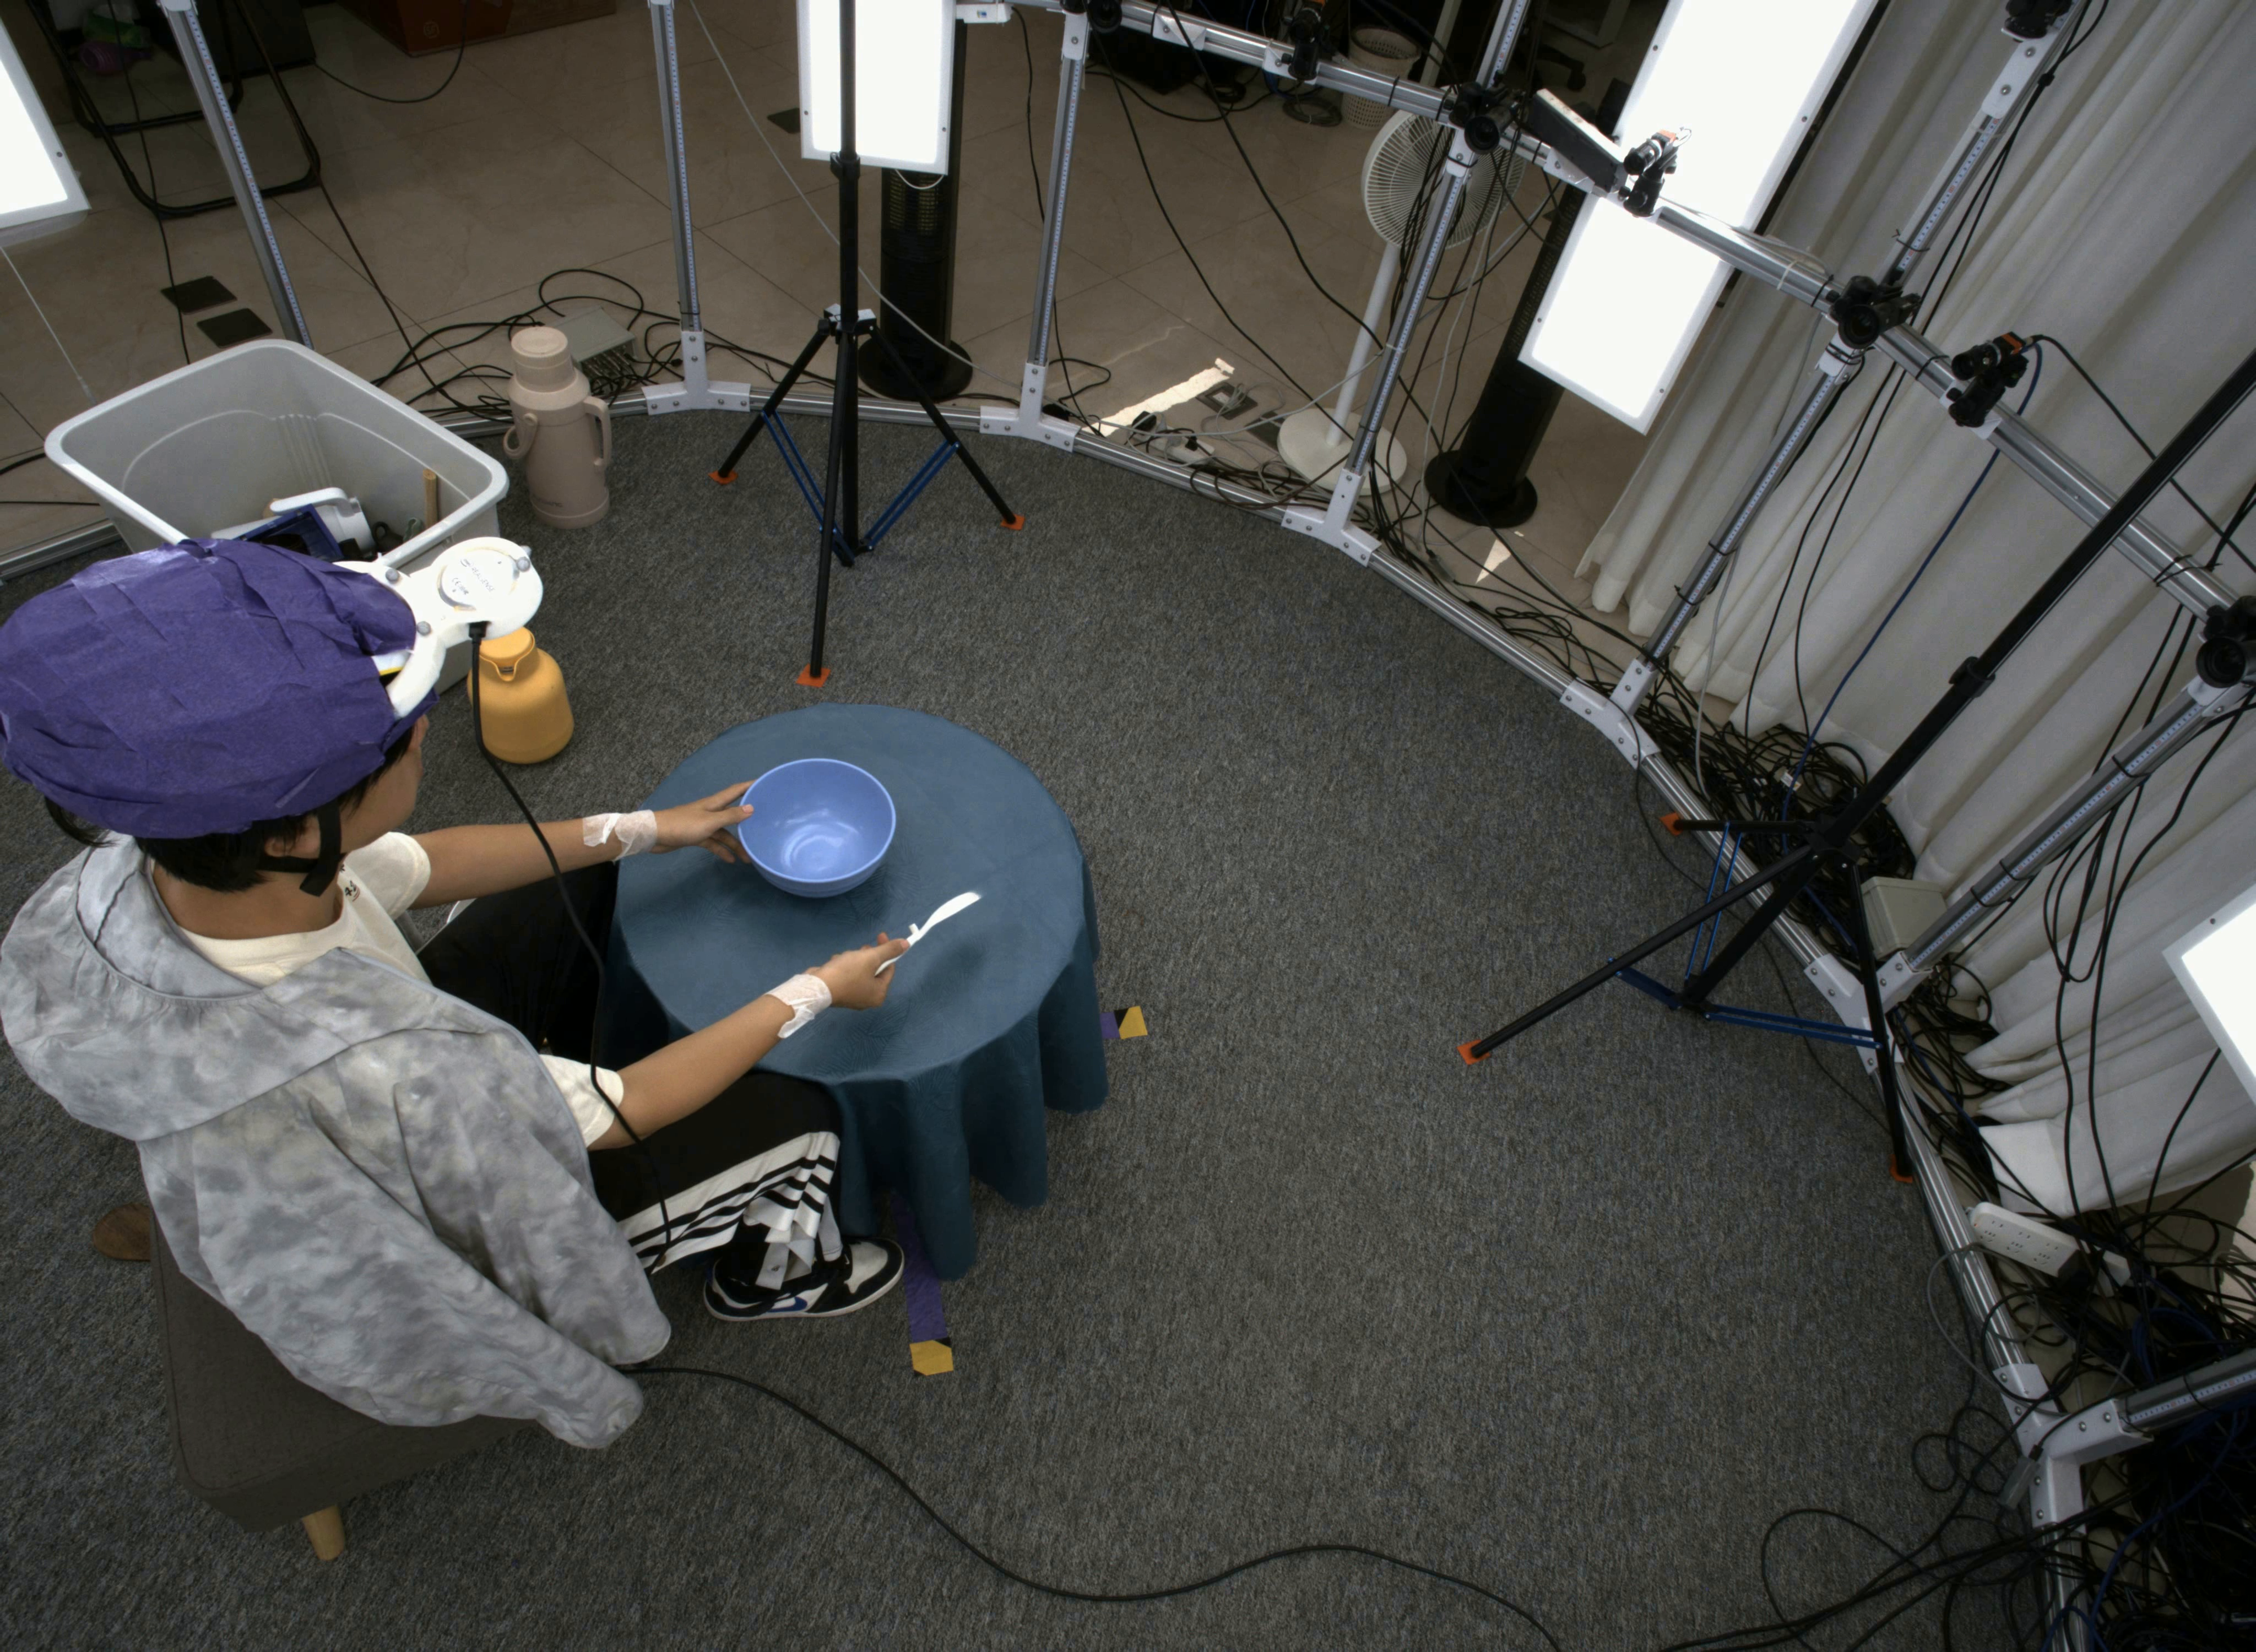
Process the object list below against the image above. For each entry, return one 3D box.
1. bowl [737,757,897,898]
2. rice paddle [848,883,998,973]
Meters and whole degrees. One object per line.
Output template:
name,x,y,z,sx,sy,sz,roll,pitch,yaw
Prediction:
bowl,-0.396,0.017,1.658,0.196,0.097,0.193,9,52,-9
rice paddle,-0.242,0.117,1.577,0.206,0.069,0.029,-27,80,-28
